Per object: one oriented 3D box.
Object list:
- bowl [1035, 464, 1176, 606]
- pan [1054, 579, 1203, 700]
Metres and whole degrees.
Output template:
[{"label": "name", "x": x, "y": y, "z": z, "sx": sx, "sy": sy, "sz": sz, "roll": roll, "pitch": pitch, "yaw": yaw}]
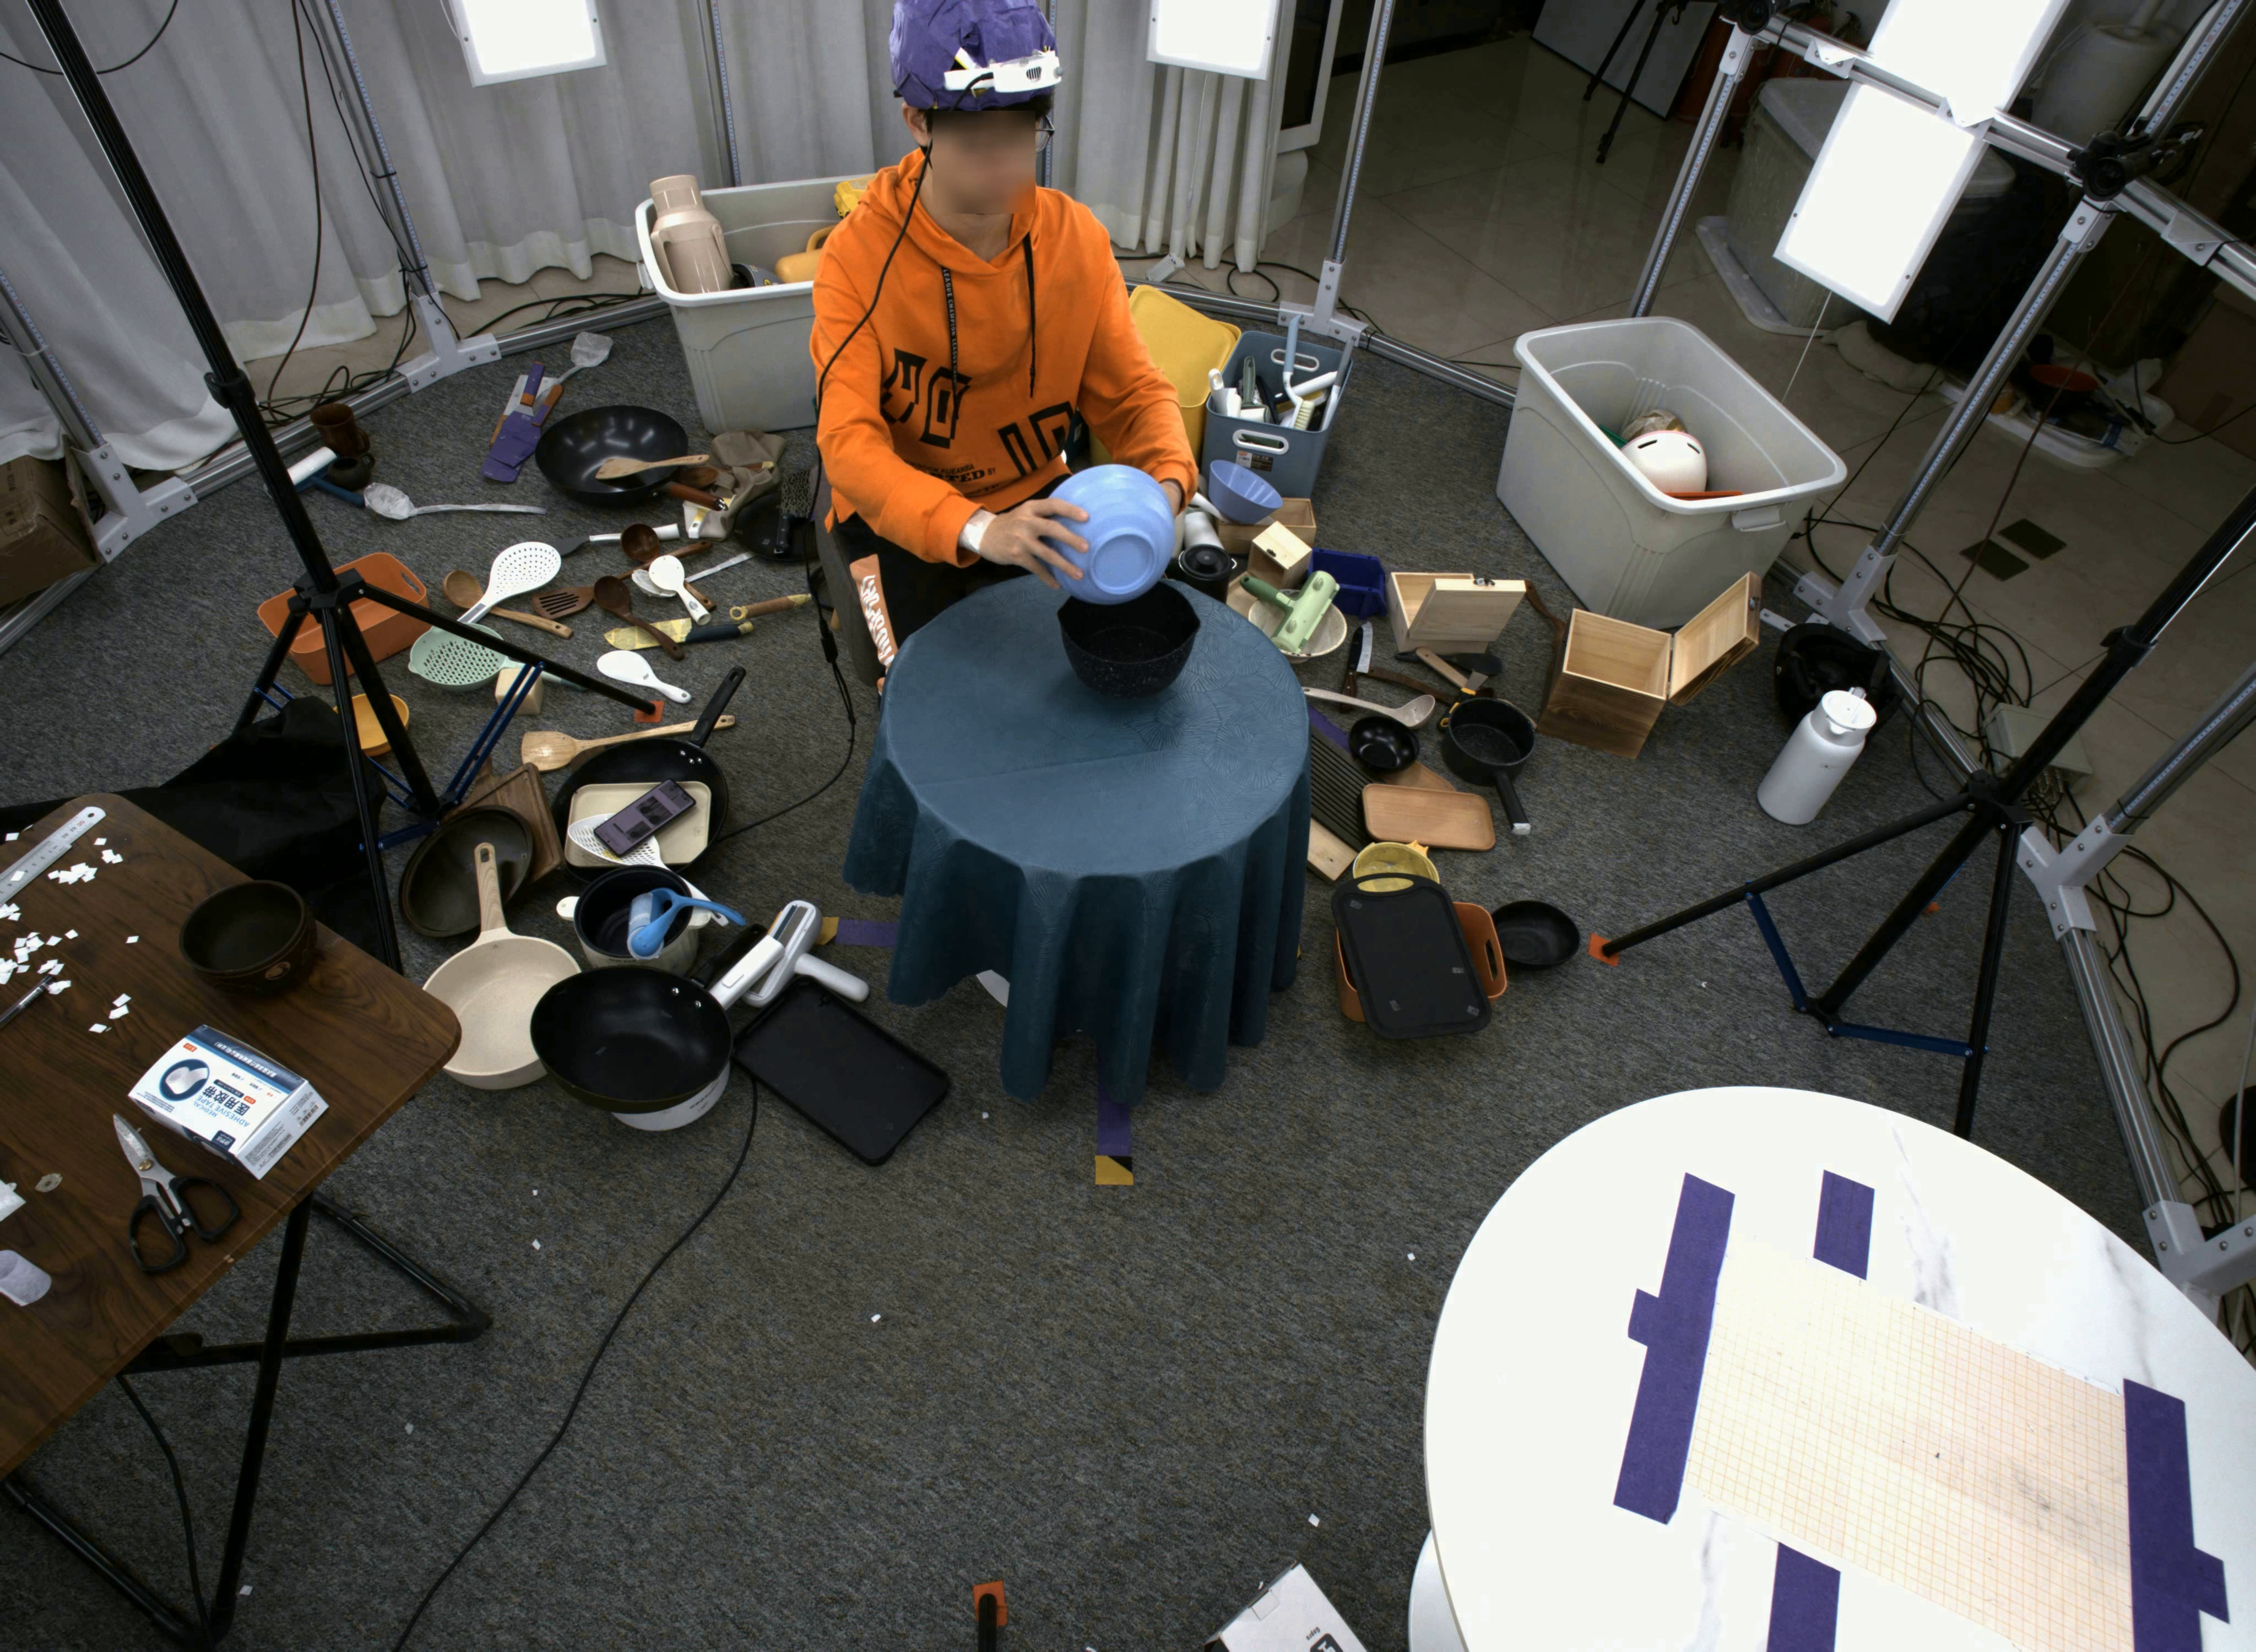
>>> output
[{"label": "bowl", "x": -0.018, "y": -0.372, "z": 1.721, "sx": 0.196, "sy": 0.192, "sz": 0.098, "roll": -11, "pitch": 39, "yaw": -14}, {"label": "pan", "x": 0.006, "y": -0.327, "z": 1.840, "sx": 0.207, "sy": 0.105, "sz": 0.351, "roll": 3, "pitch": 49, "yaw": 3}]
